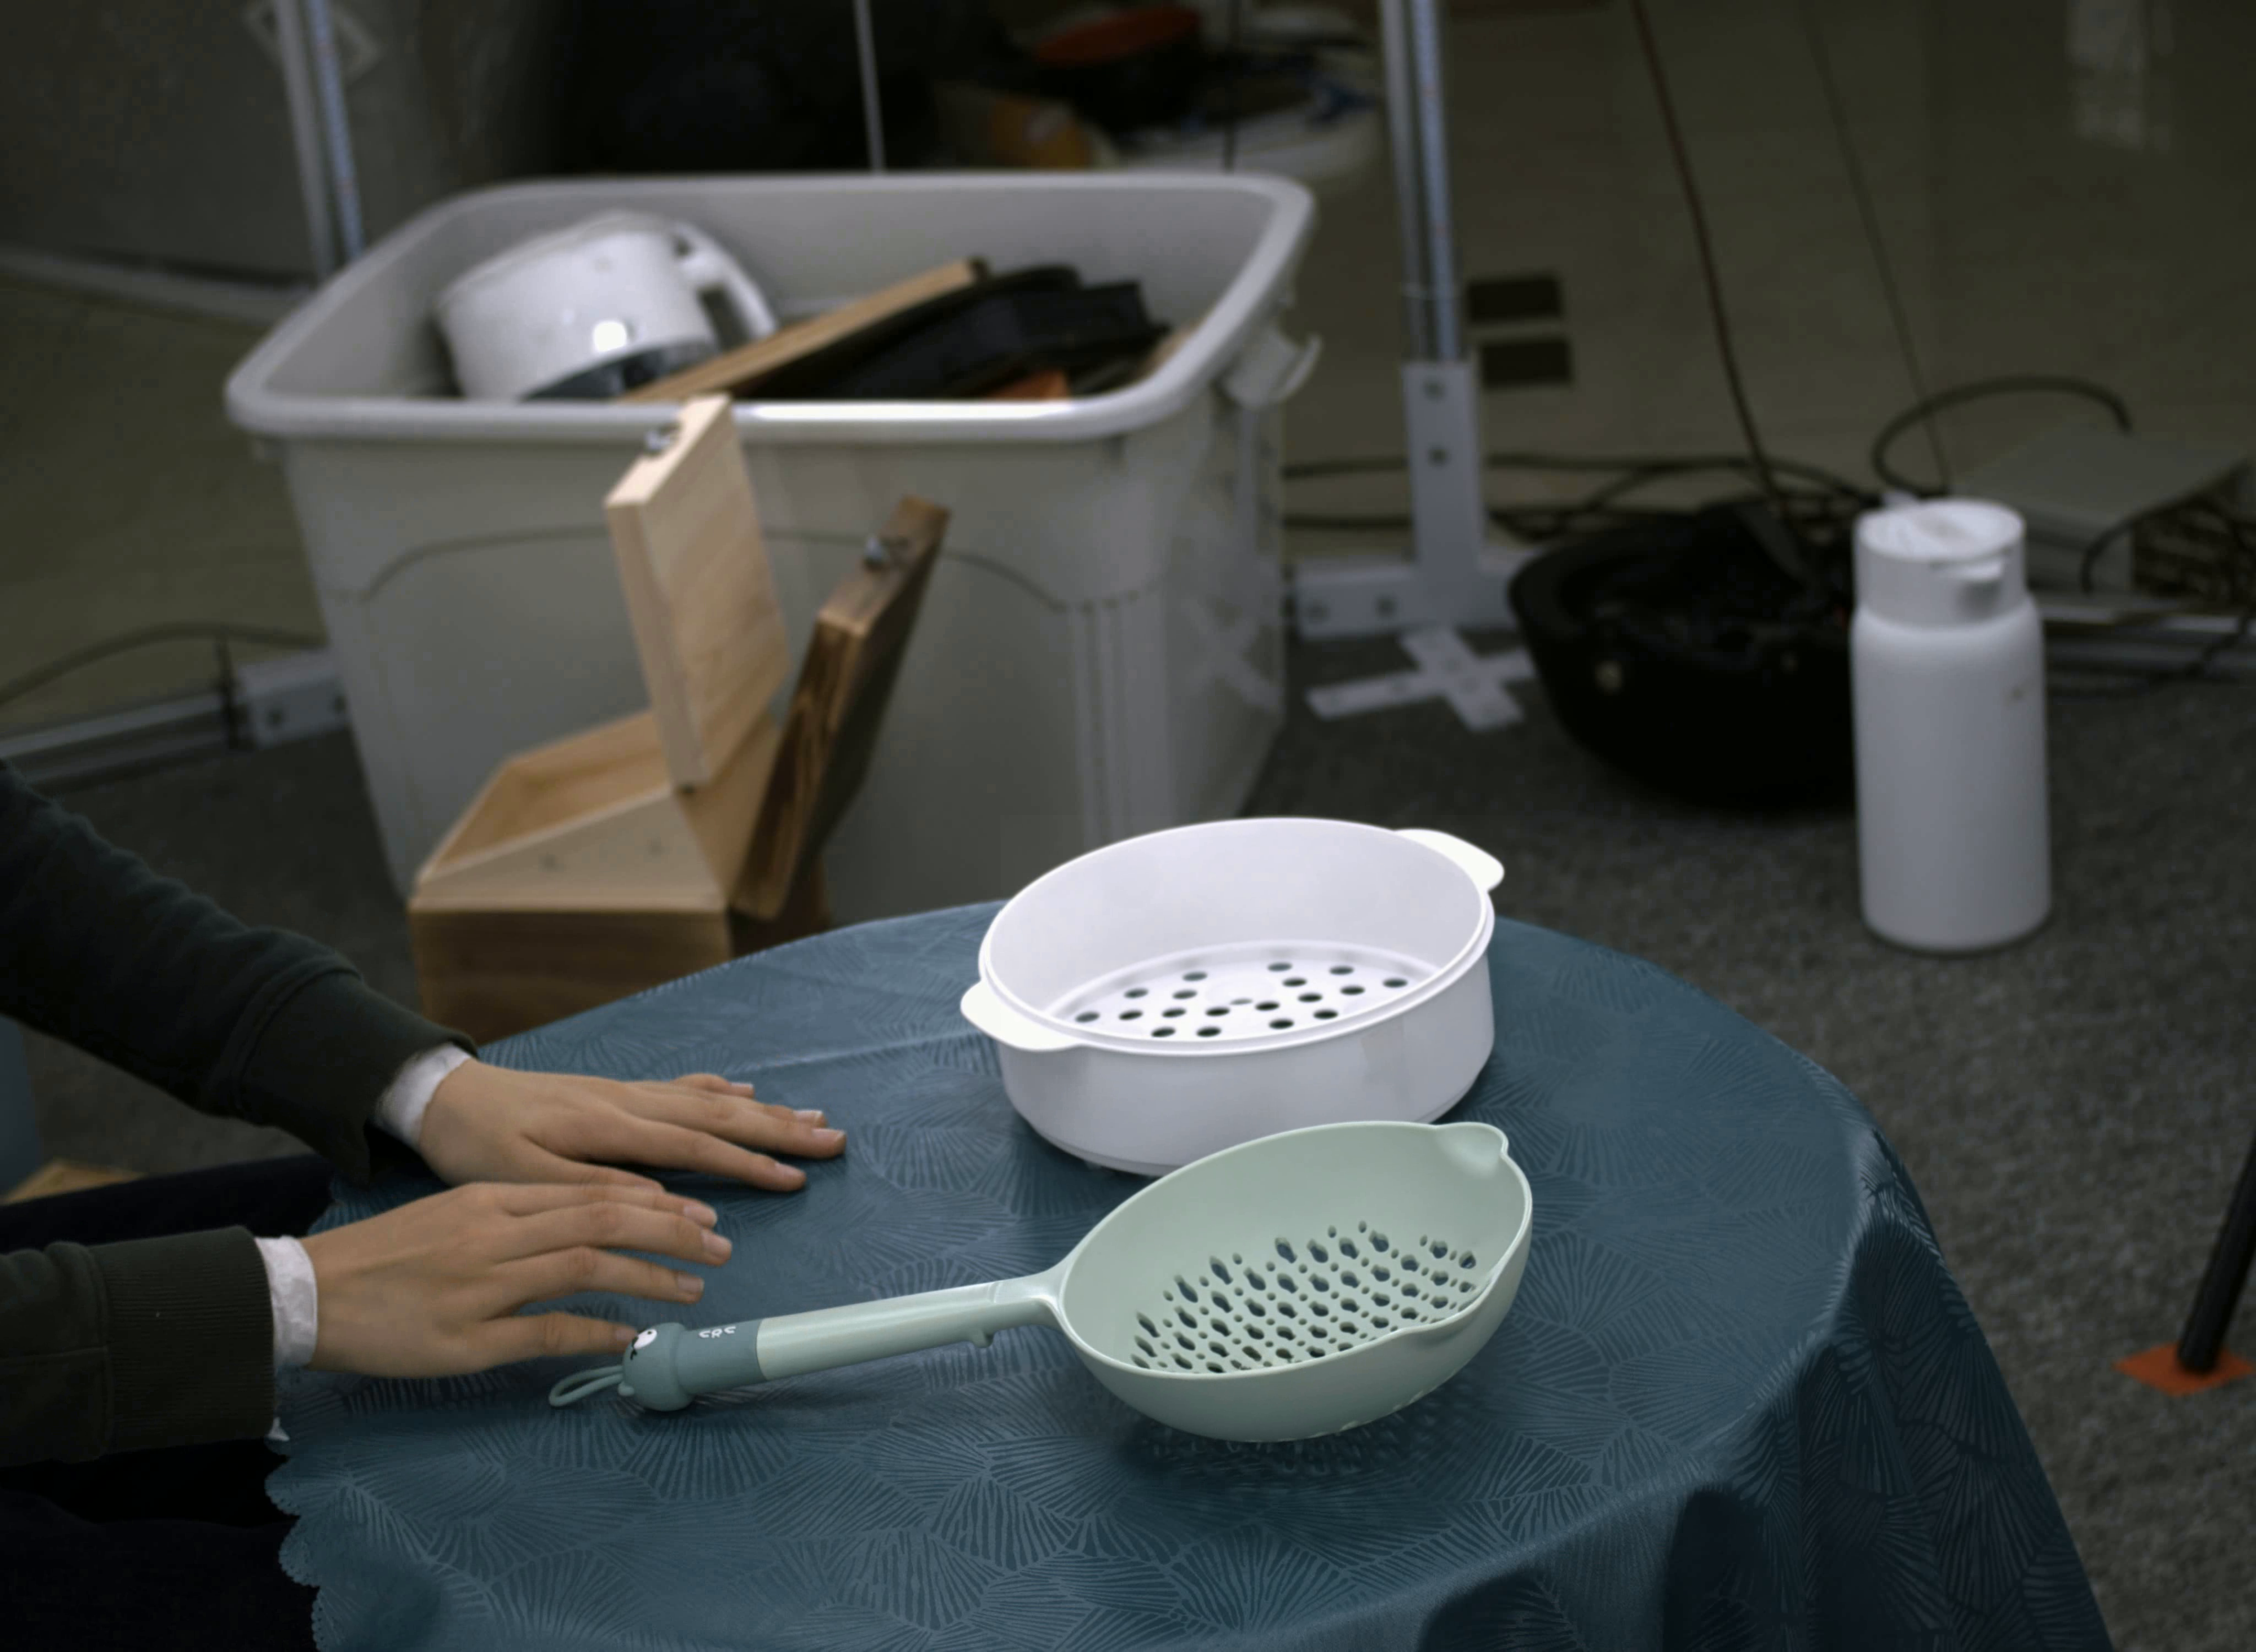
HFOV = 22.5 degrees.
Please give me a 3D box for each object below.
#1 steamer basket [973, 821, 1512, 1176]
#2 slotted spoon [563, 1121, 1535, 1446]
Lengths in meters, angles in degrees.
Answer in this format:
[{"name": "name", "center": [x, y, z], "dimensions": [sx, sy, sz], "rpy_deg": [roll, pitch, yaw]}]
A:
[{"name": "steamer basket", "center": [0.049, 0.068, 2.214], "dimensions": [0.229, 0.070, 0.200], "rpy_deg": [-20, 28, -27]}, {"name": "slotted spoon", "center": [-0.032, 0.173, 2.010], "dimensions": [0.358, 0.076, 0.167], "rpy_deg": [-2, 26, 10]}]
